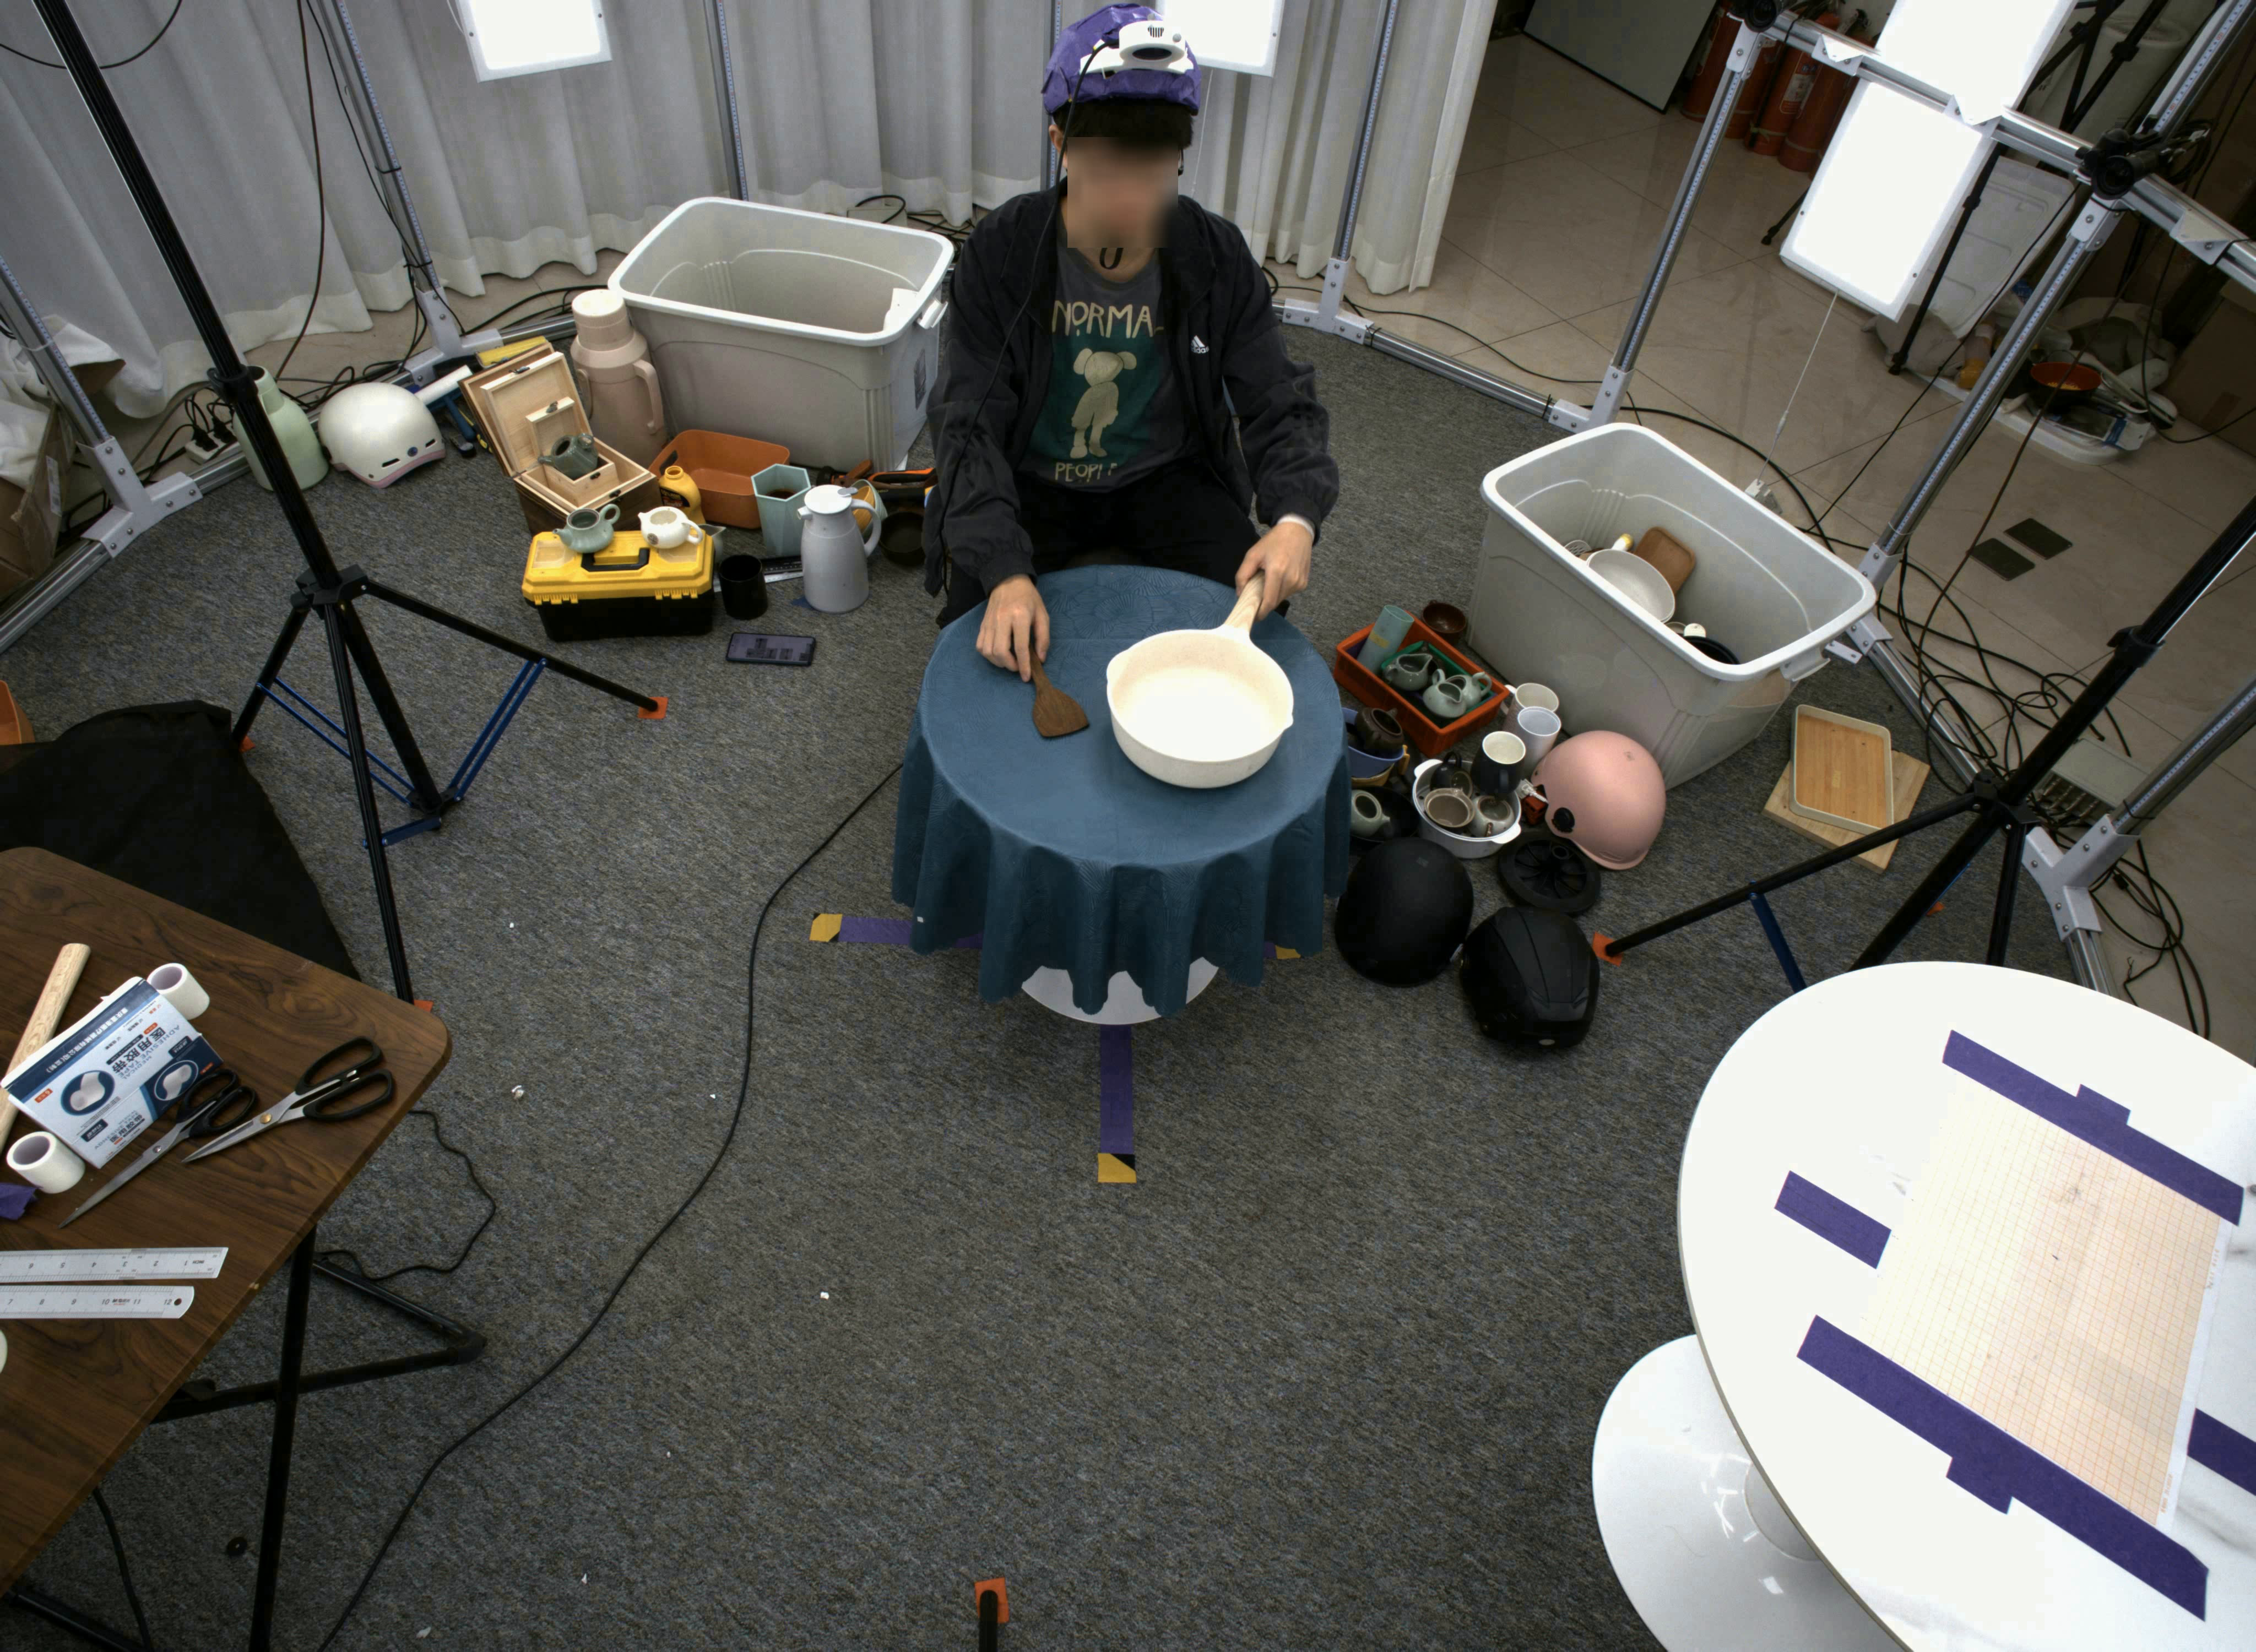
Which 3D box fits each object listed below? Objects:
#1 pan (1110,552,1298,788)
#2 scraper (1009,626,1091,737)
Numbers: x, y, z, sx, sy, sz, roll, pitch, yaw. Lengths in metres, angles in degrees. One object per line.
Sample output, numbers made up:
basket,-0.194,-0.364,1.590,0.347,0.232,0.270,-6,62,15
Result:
pan,0.135,-0.222,1.805,0.265,0.099,0.443,17,49,14
scraper,-0.123,-0.208,1.826,0.076,0.010,0.216,-15,57,-18
